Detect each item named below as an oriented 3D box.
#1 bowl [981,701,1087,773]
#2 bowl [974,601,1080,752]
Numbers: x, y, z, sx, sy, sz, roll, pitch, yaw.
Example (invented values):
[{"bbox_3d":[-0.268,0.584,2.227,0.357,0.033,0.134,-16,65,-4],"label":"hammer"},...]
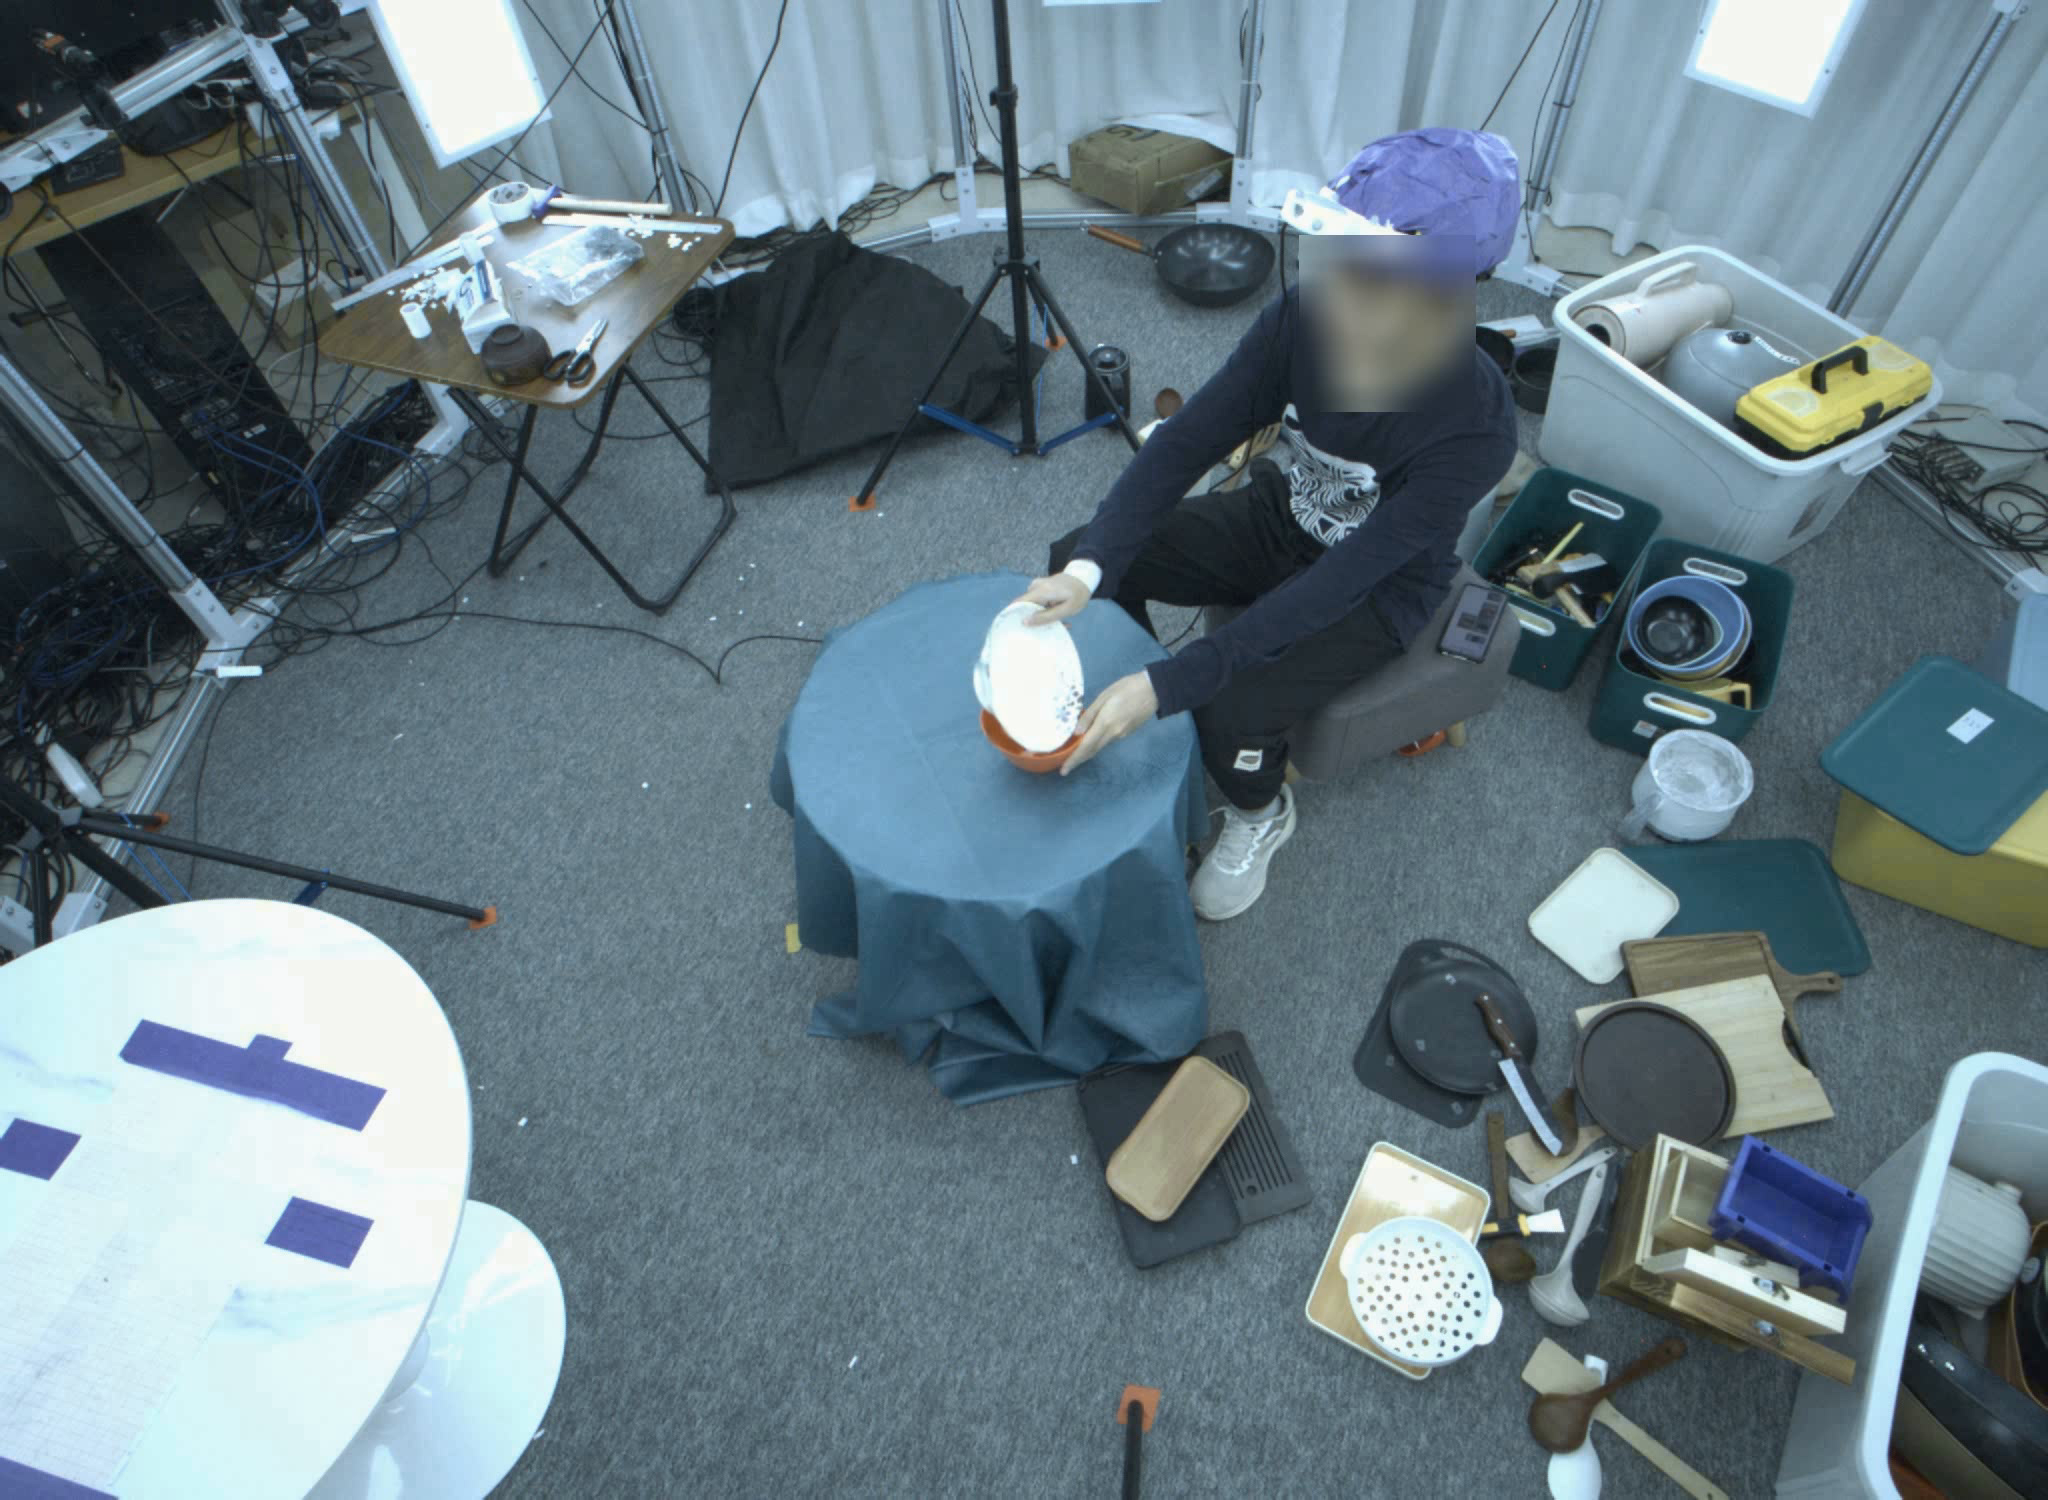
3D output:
[{"bbox_3d":[0.014,-0.016,1.745,0.148,0.105,0.146,1,53,0],"label":"bowl"},{"bbox_3d":[-0.012,-0.096,1.671,0.076,0.208,0.203,-5,49,36],"label":"bowl"}]
